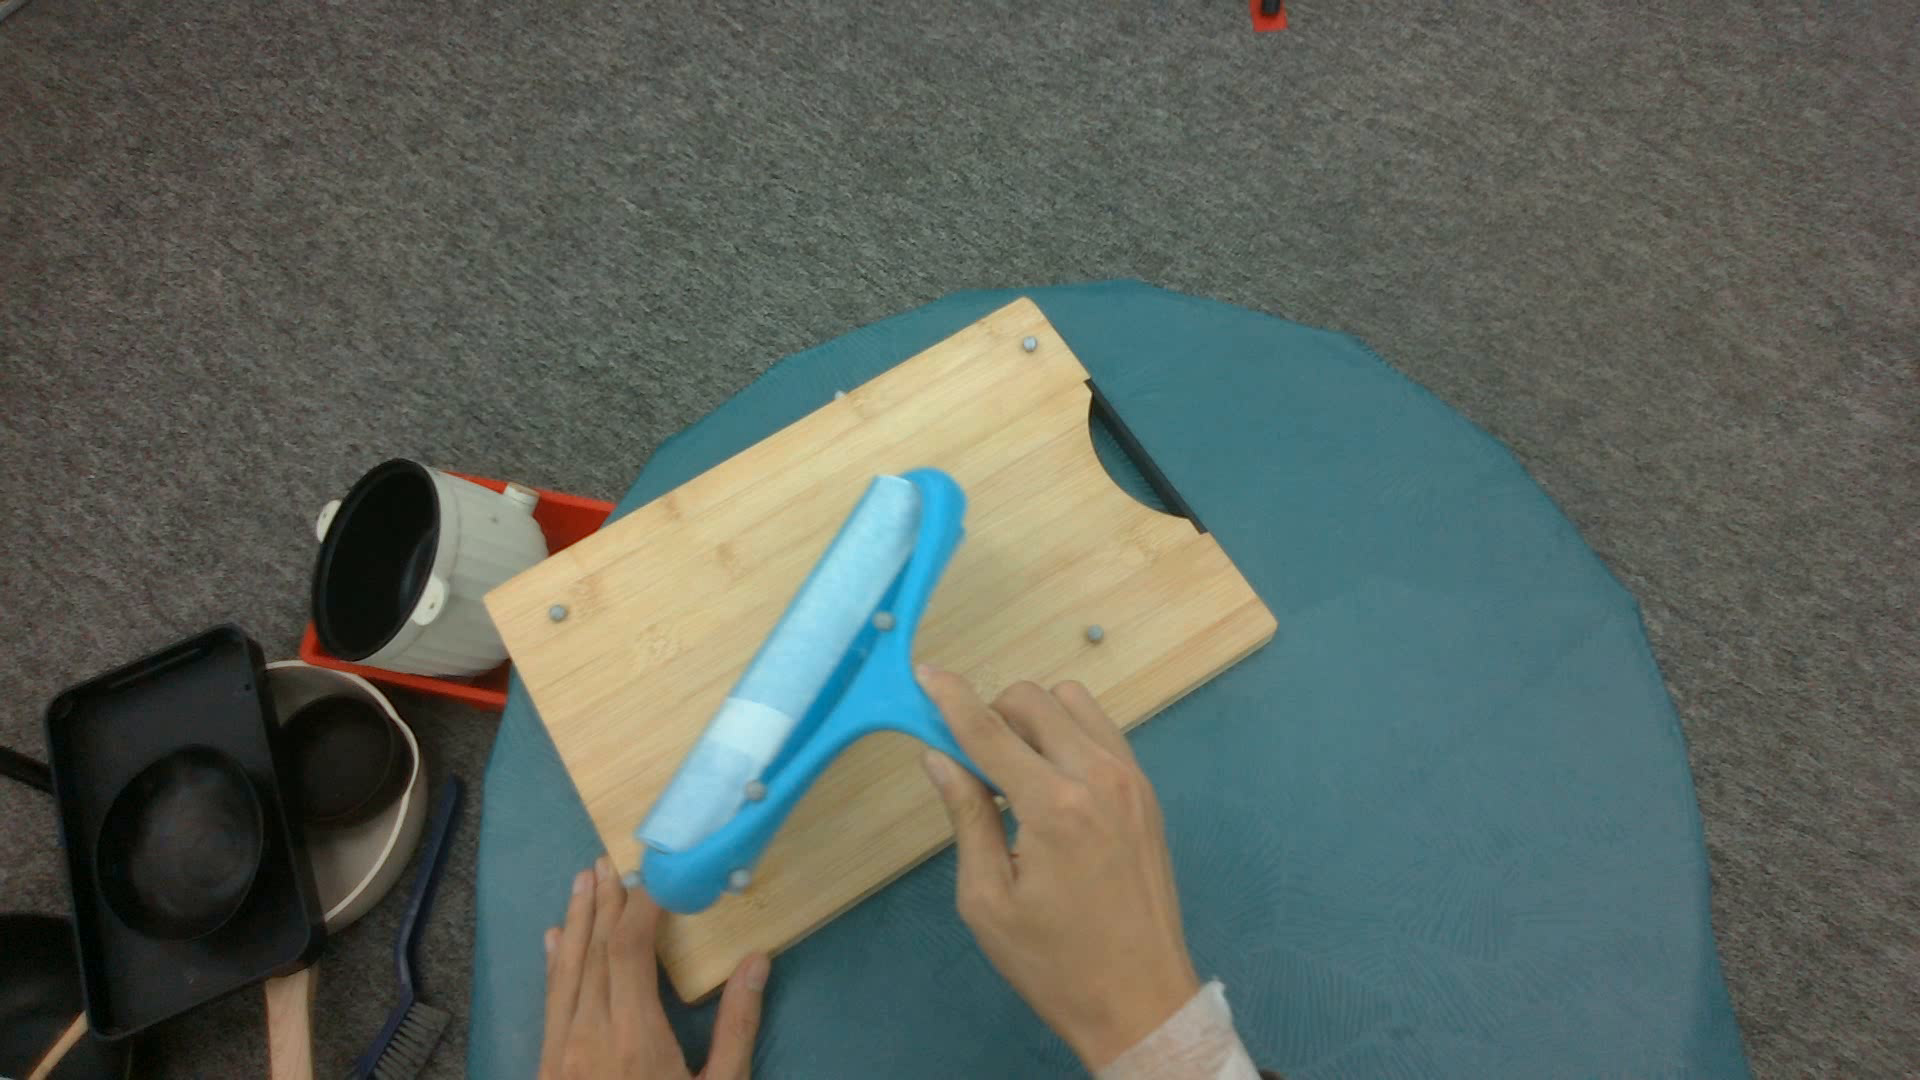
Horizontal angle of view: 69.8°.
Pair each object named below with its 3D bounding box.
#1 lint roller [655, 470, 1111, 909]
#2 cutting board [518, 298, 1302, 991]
[{"bbox_3d":[-0.019,0.077,0.602,0.180,0.068,0.229,16,65,35],"label":"lint roller"},{"bbox_3d":[-0.034,0.039,0.732,0.349,0.023,0.251,-31,68,-10],"label":"cutting board"}]
